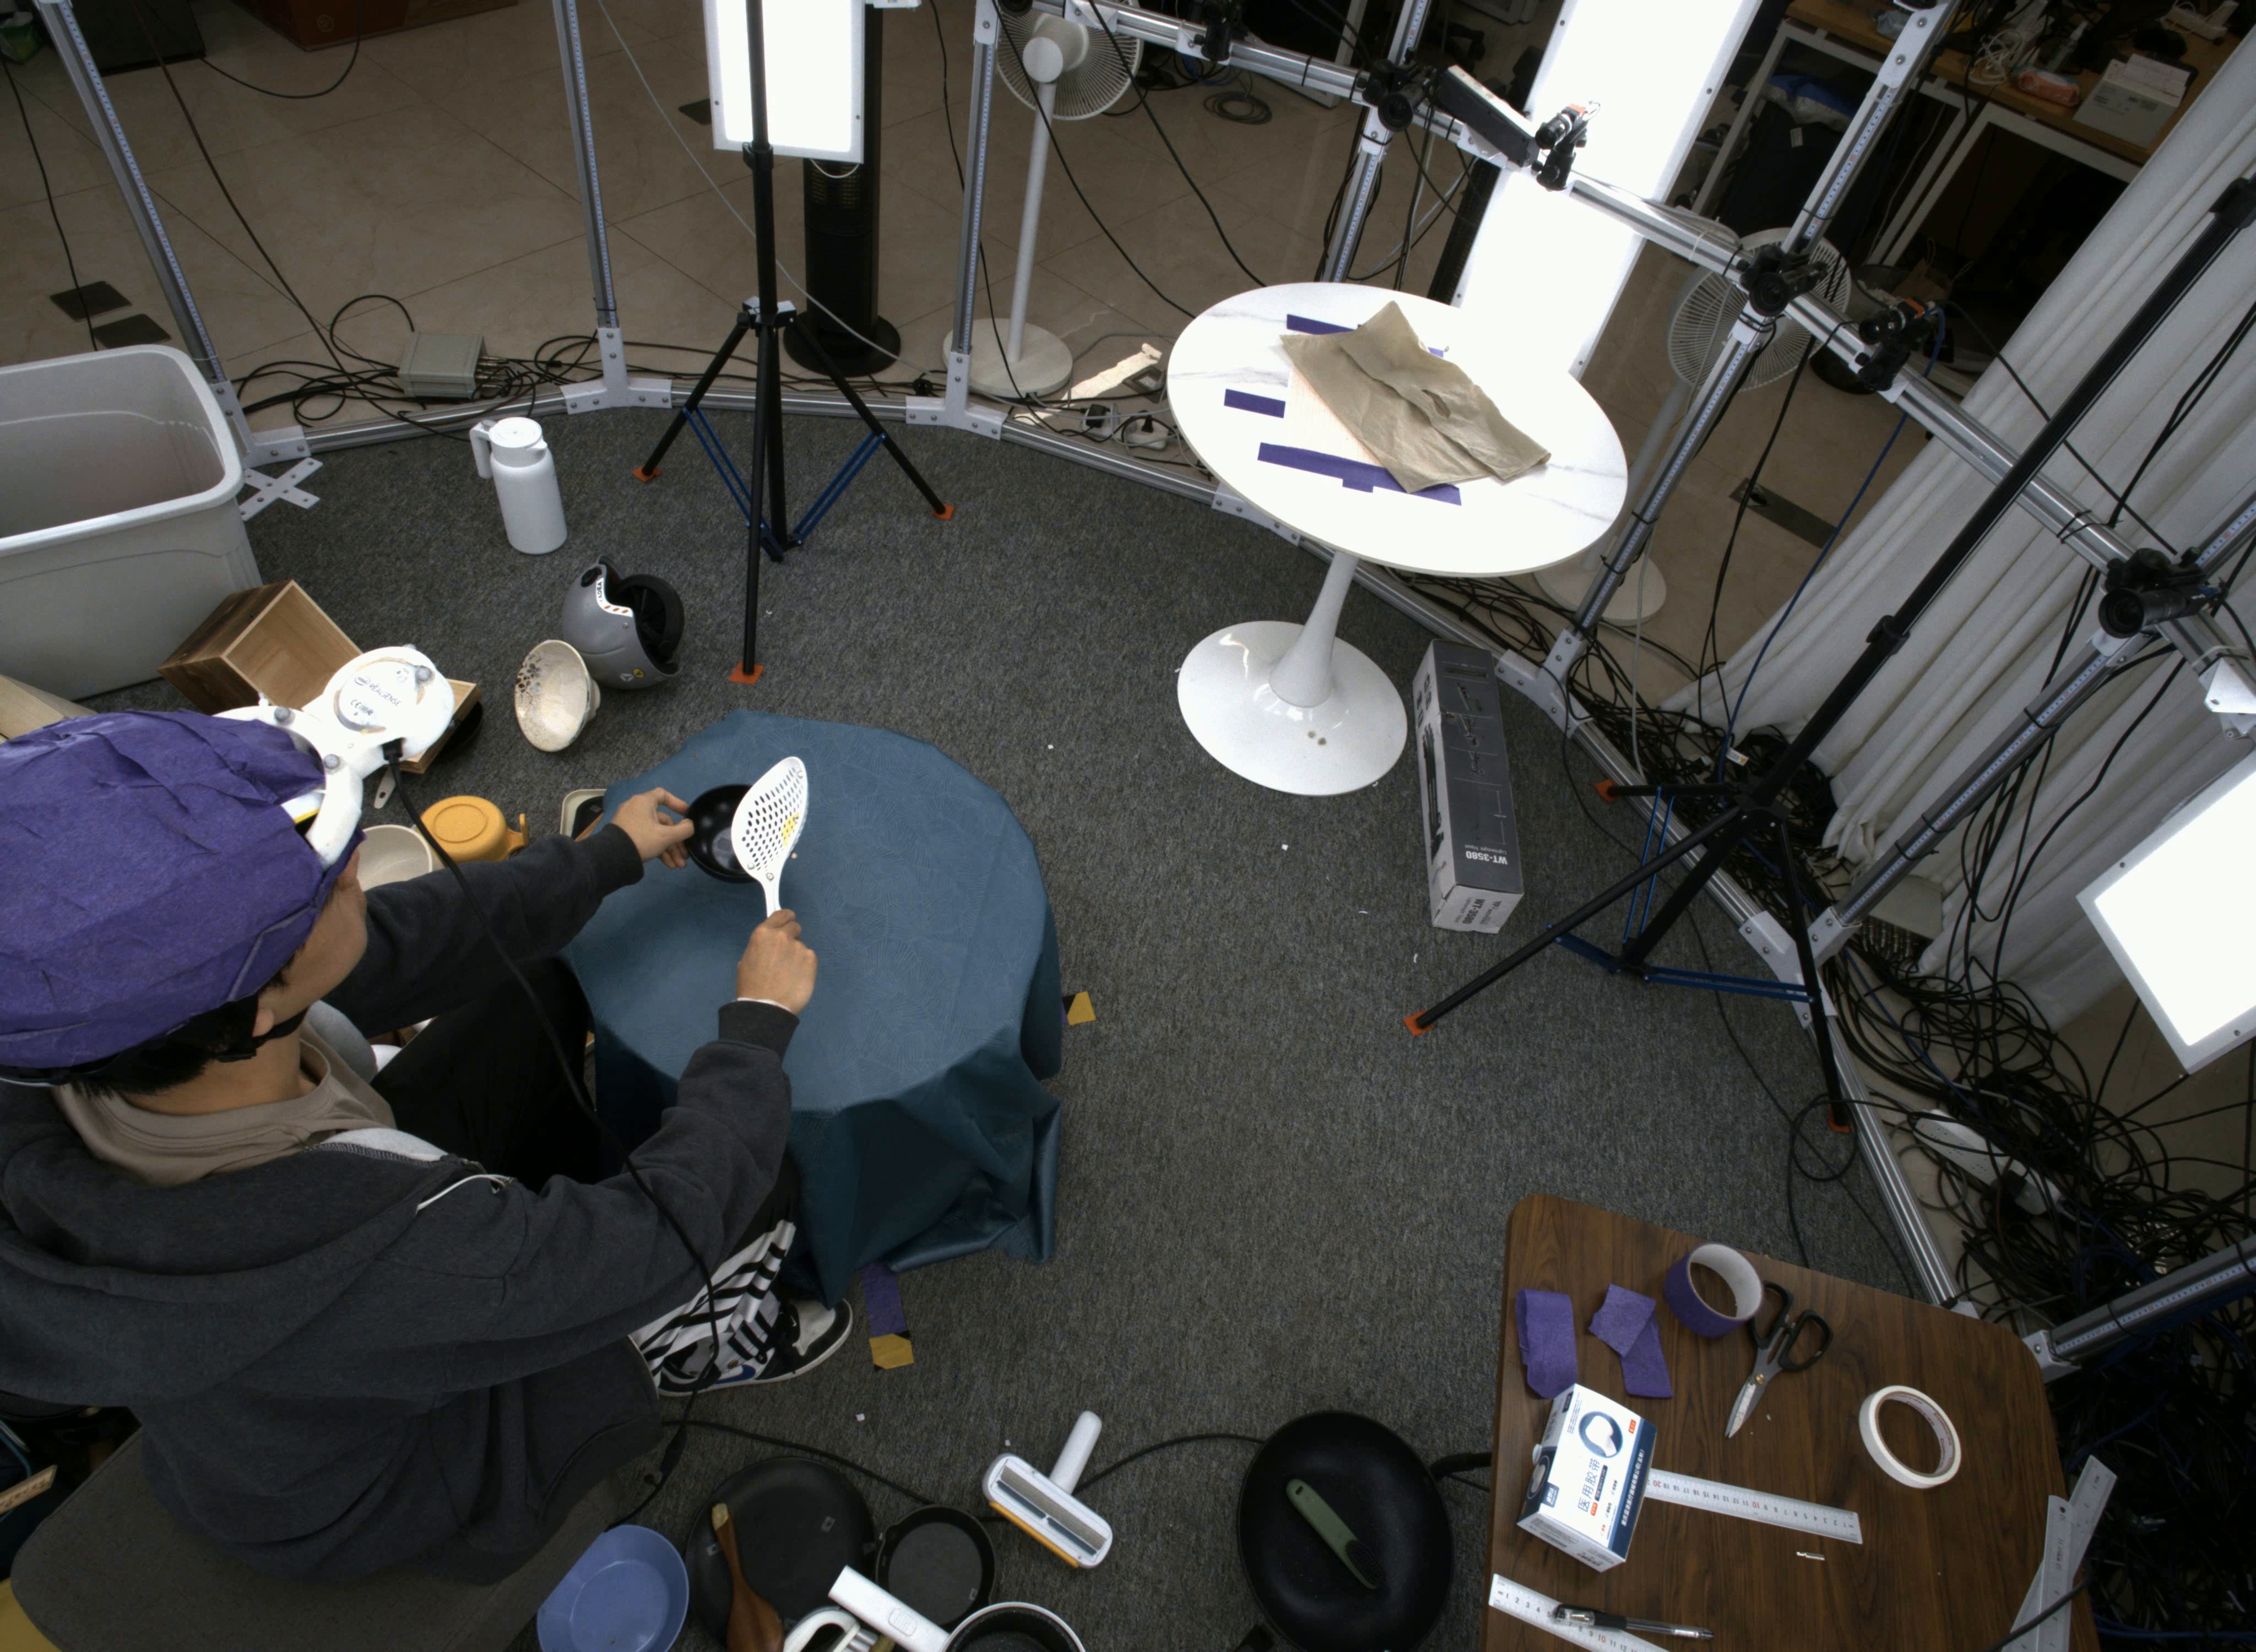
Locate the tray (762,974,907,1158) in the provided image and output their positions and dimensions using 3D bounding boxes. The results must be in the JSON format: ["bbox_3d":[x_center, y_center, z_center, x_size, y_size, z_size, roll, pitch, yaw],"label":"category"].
[{"bbox_3d":[-0.486,0.385,2.135,0.192,0.028,0.293,-8,56,-20],"label":"tray"}]

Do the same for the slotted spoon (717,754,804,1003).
[{"bbox_3d":[-0.404,0.060,1.470,0.052,0.136,0.338,38,23,-41],"label":"slotted spoon"}]
